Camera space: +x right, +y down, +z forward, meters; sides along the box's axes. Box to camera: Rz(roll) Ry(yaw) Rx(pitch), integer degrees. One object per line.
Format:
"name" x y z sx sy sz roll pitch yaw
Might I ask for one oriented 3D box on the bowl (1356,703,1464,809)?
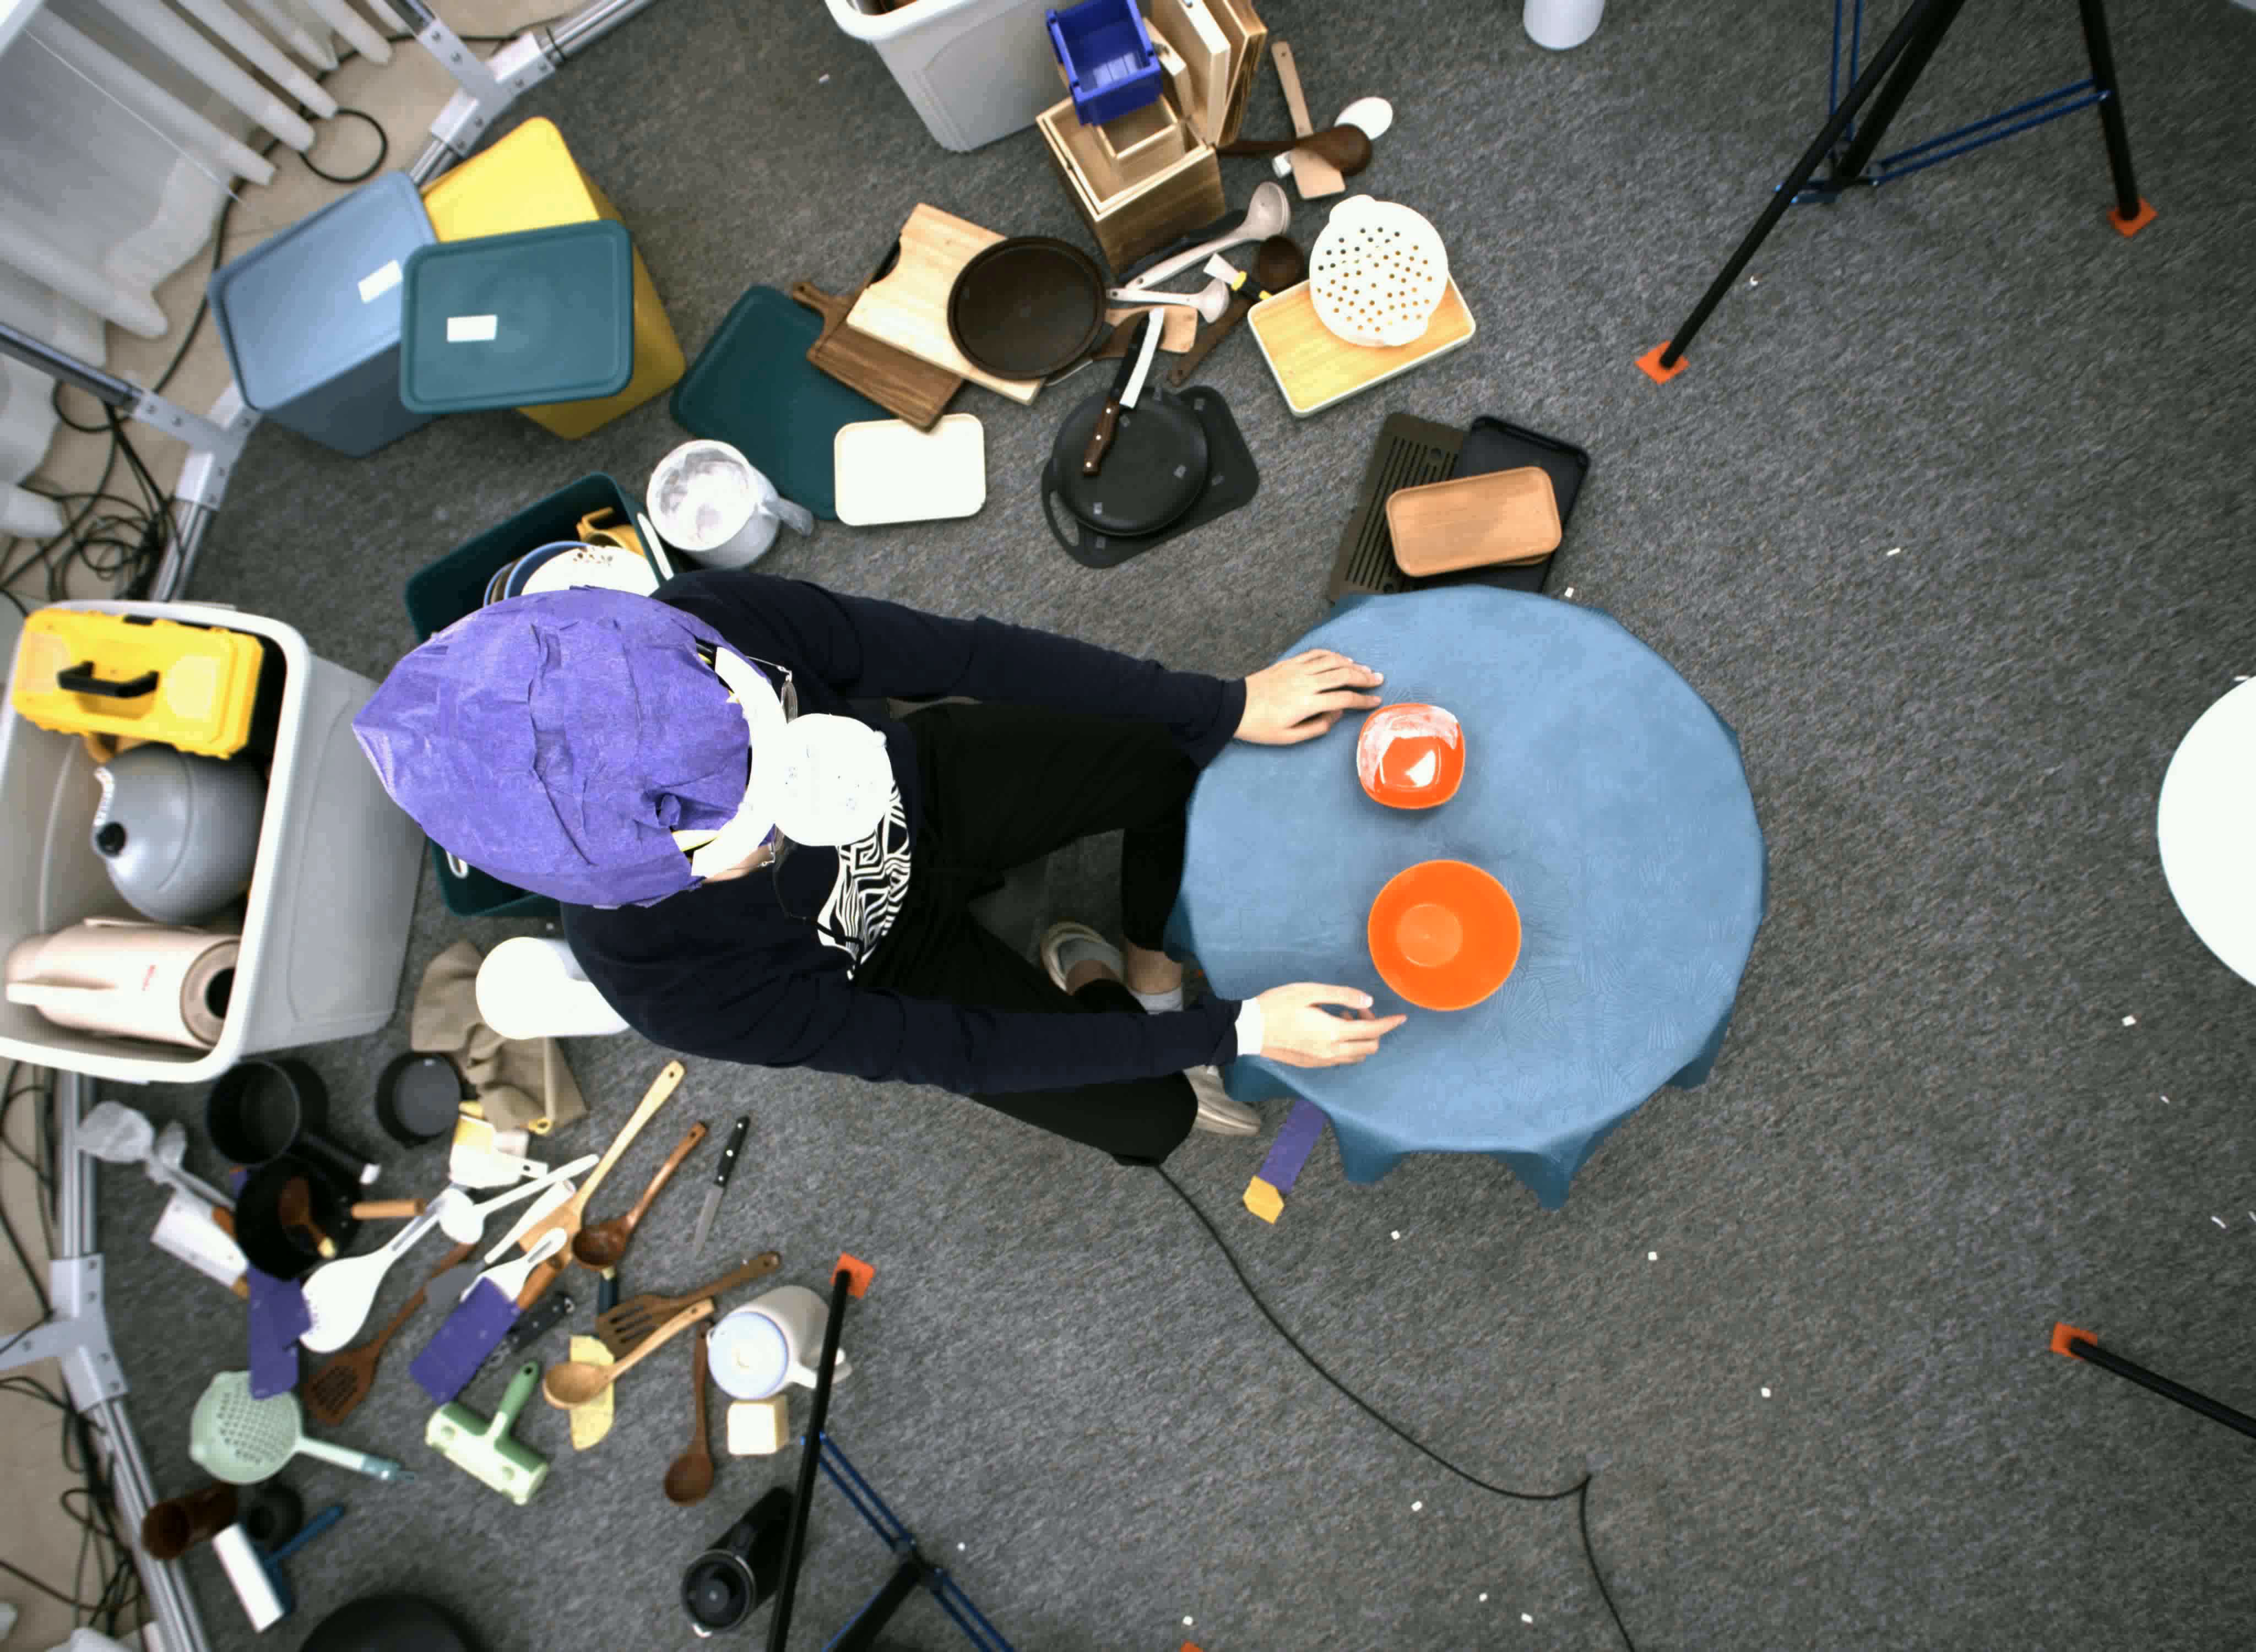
"bowl" 0.294 -0.072 1.438 0.119 0.051 0.118 -1 88 11

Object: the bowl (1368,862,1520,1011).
"bowl" 0.318 0.111 1.399 0.148 0.104 0.147 -1 86 12
